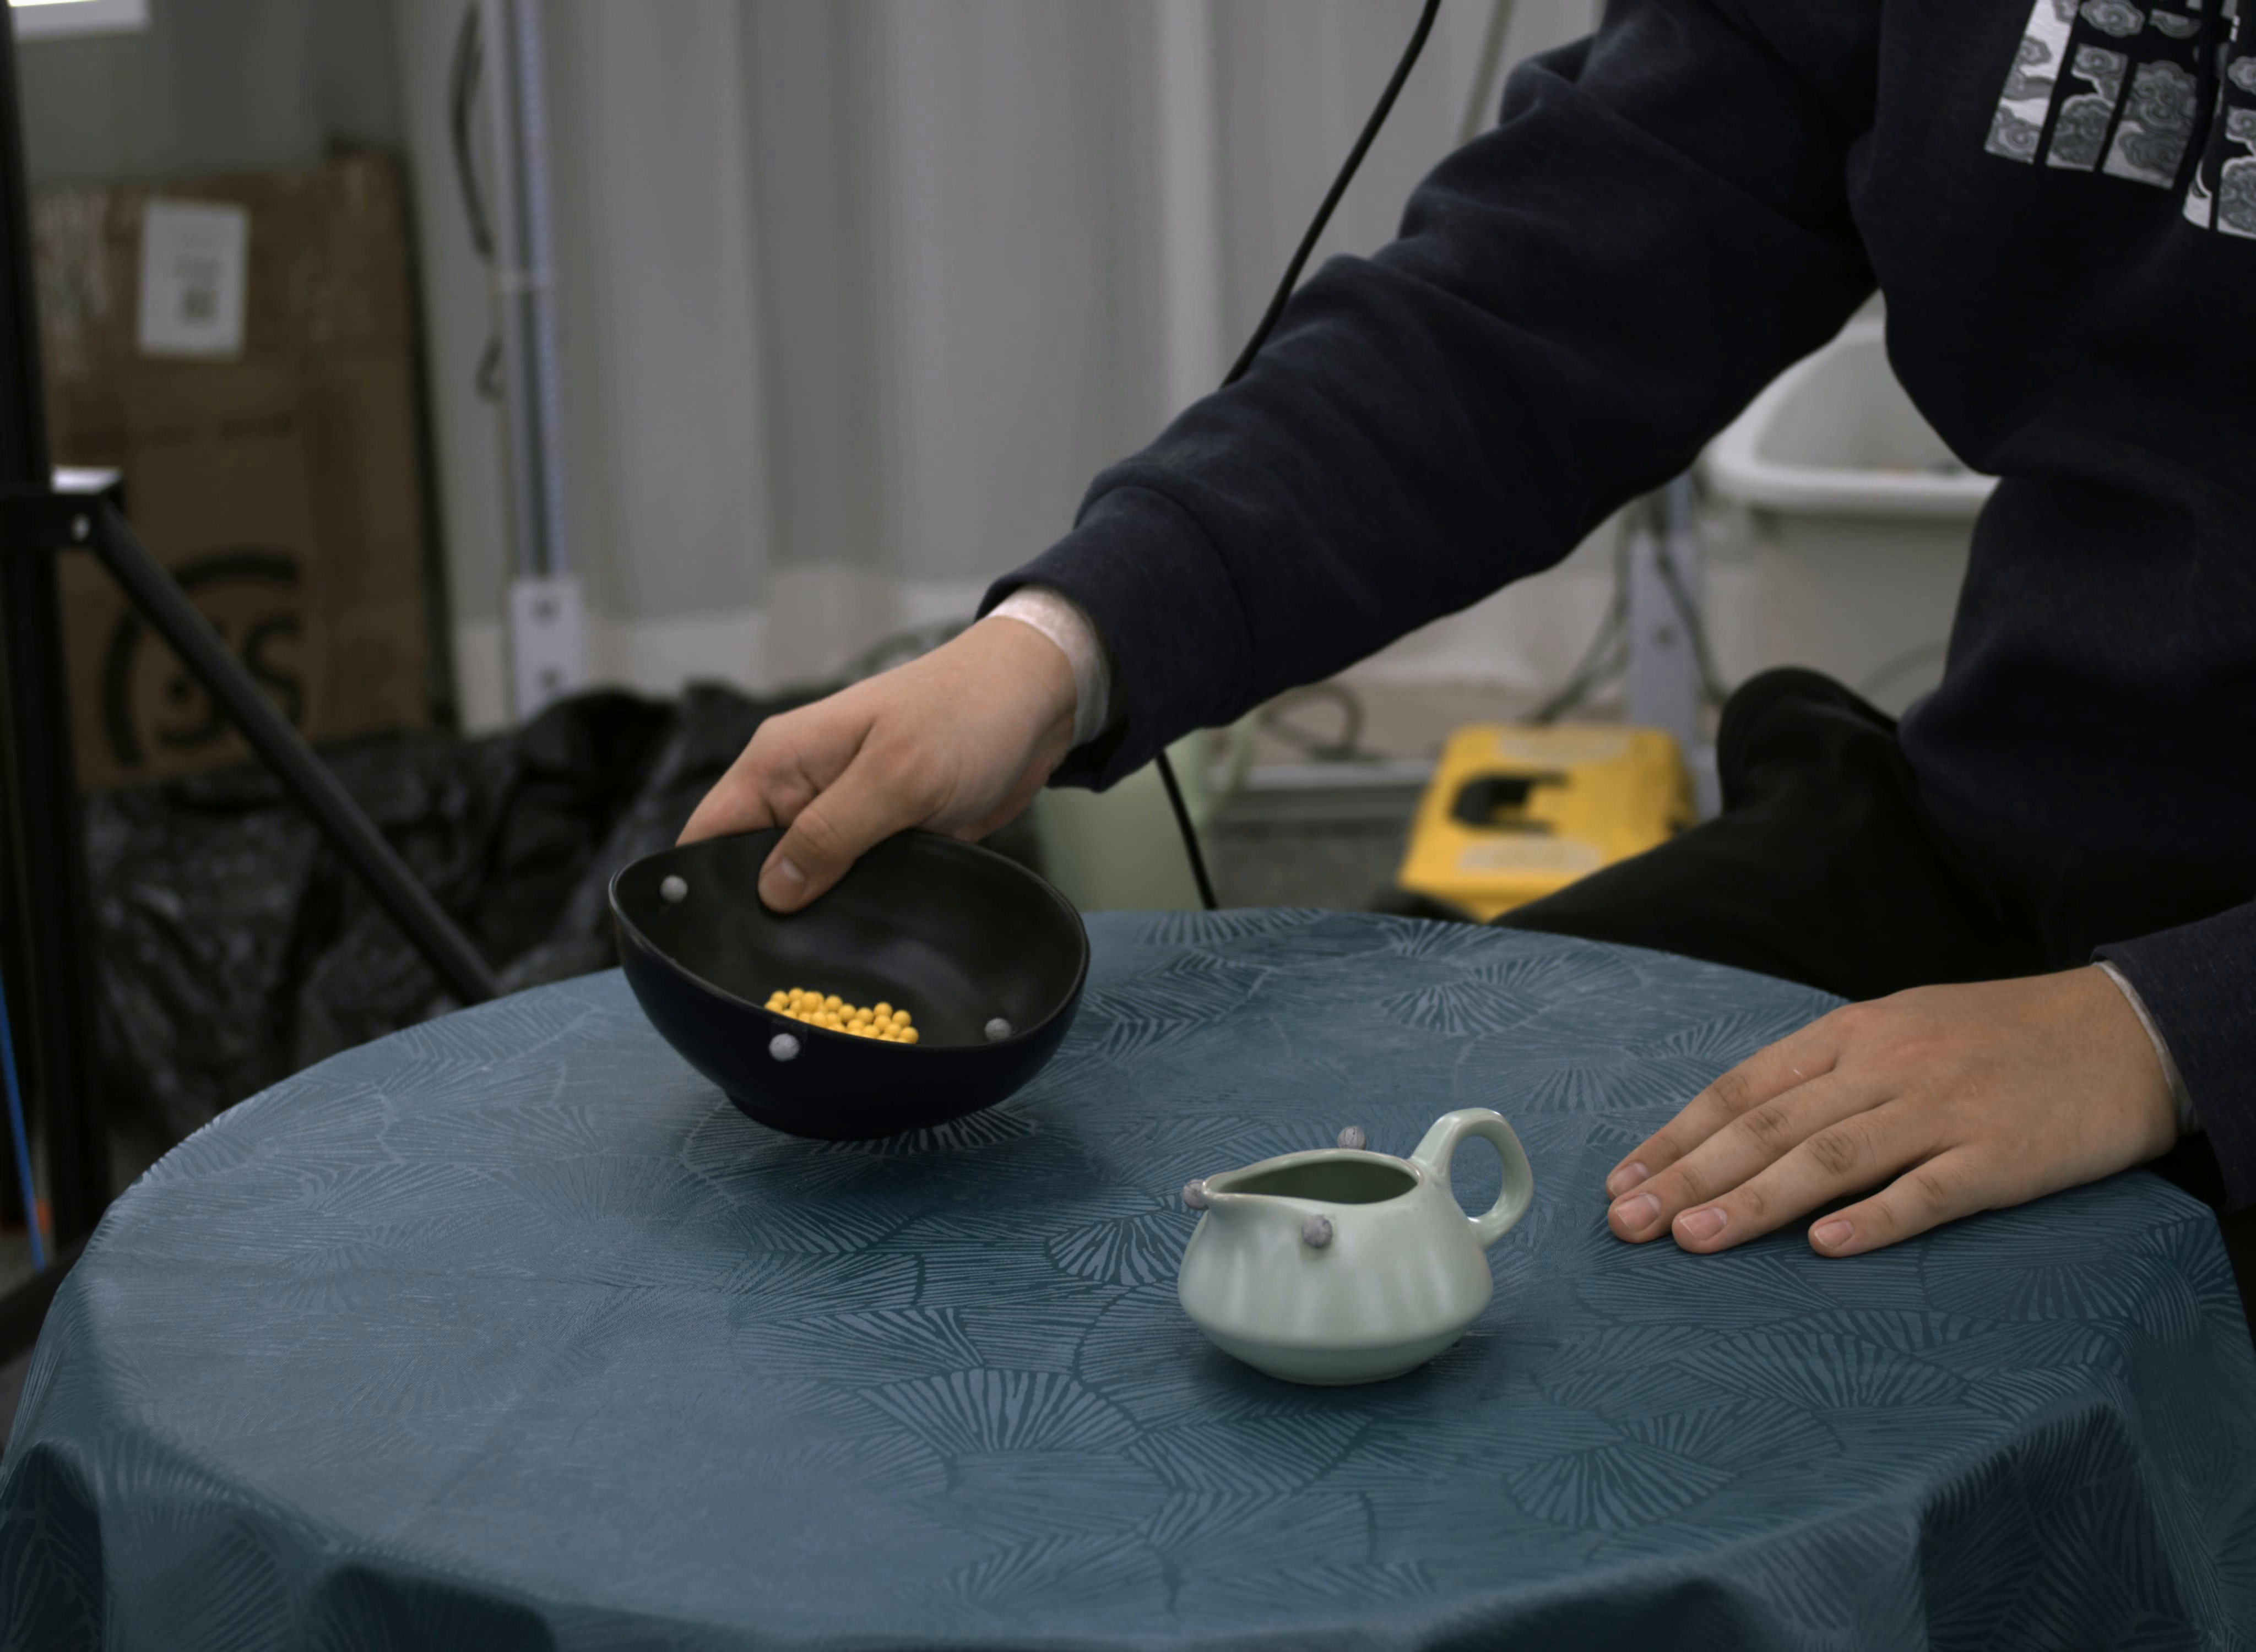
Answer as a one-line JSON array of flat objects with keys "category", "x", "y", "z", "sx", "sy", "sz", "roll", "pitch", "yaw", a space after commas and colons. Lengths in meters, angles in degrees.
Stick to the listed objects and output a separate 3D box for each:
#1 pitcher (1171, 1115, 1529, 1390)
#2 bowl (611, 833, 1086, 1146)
[{"category": "pitcher", "x": 0.064, "y": 0.114, "z": 1.426, "sx": 0.105, "sy": 0.060, "sz": 0.088, "roll": -10, "pitch": 18, "yaw": -34}, {"category": "bowl", "x": -0.088, "y": 0.055, "z": 1.620, "sx": 0.134, "sy": 0.066, "sz": 0.174, "roll": -11, "pitch": 27, "yaw": -31}]
